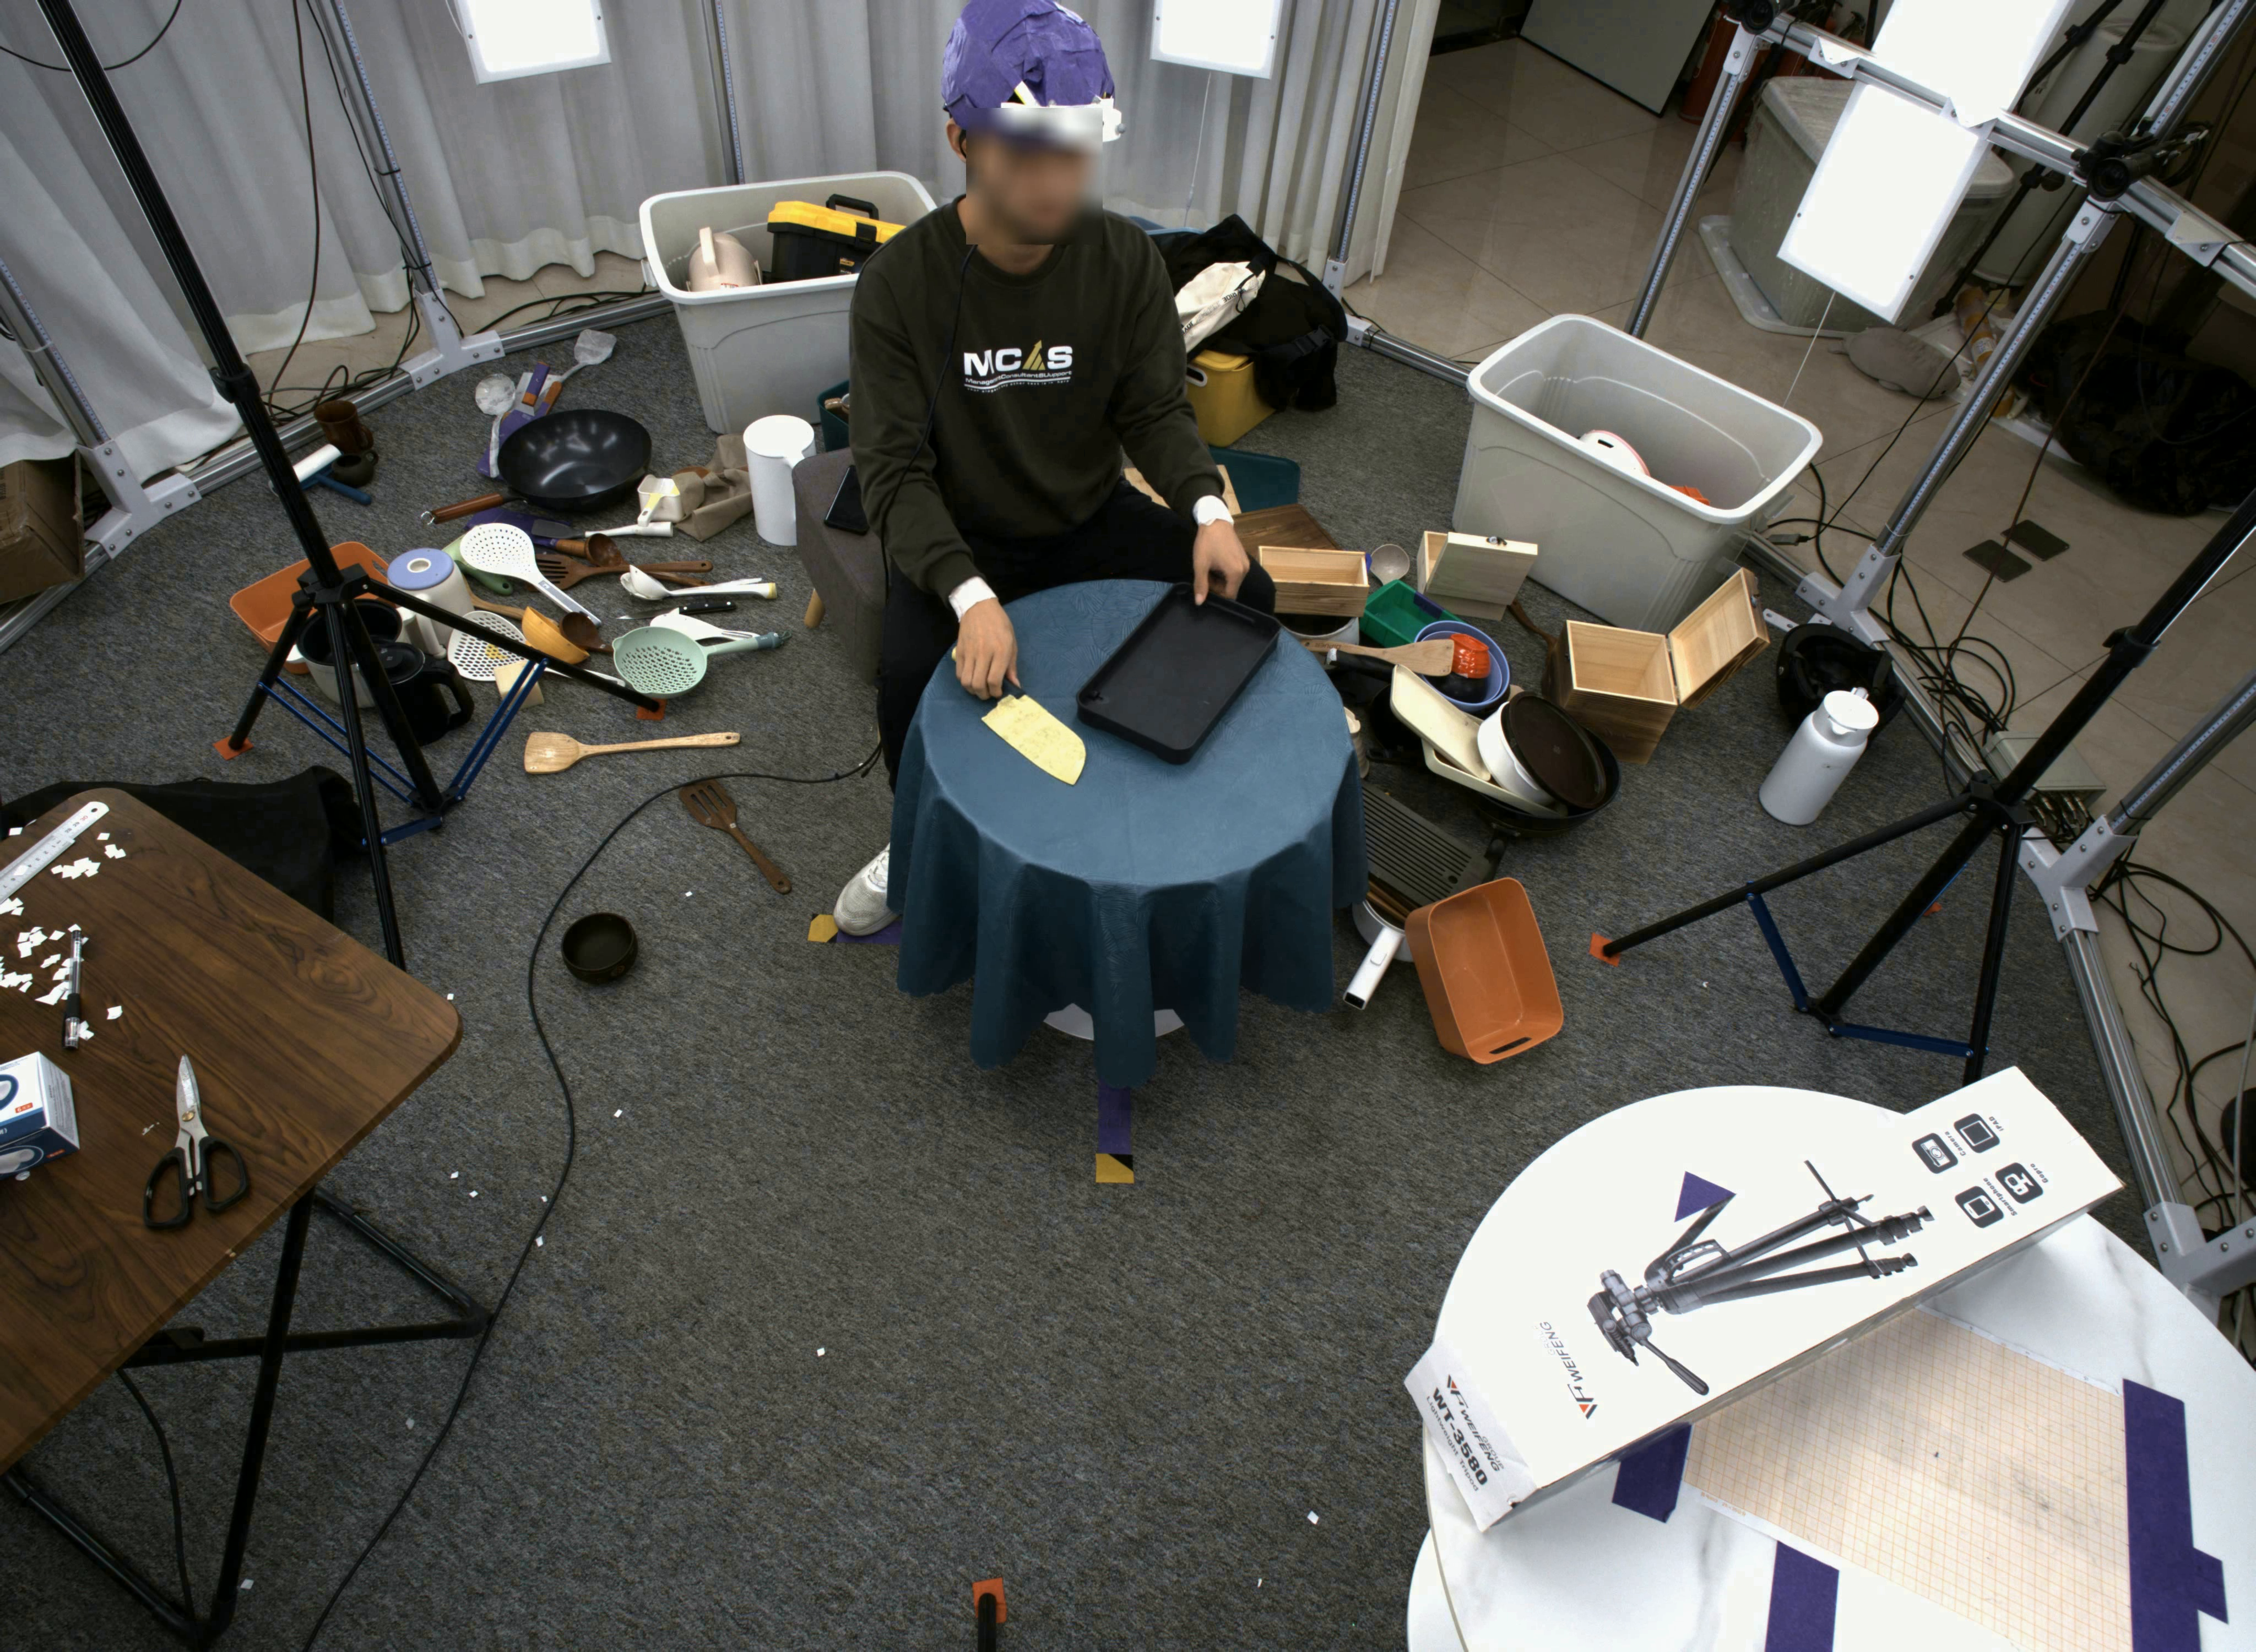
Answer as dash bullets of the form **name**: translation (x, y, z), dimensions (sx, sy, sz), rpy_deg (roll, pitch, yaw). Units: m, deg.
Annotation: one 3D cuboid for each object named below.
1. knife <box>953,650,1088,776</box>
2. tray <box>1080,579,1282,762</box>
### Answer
- **knife**: translation (-0.158, -0.156, 1.783), dimensions (0.081, 0.026, 0.294), rpy_deg (-35, 59, -22)
- **tray**: translation (0.080, -0.230, 1.849), dimensions (0.185, 0.036, 0.323), rpy_deg (23, 52, 17)
